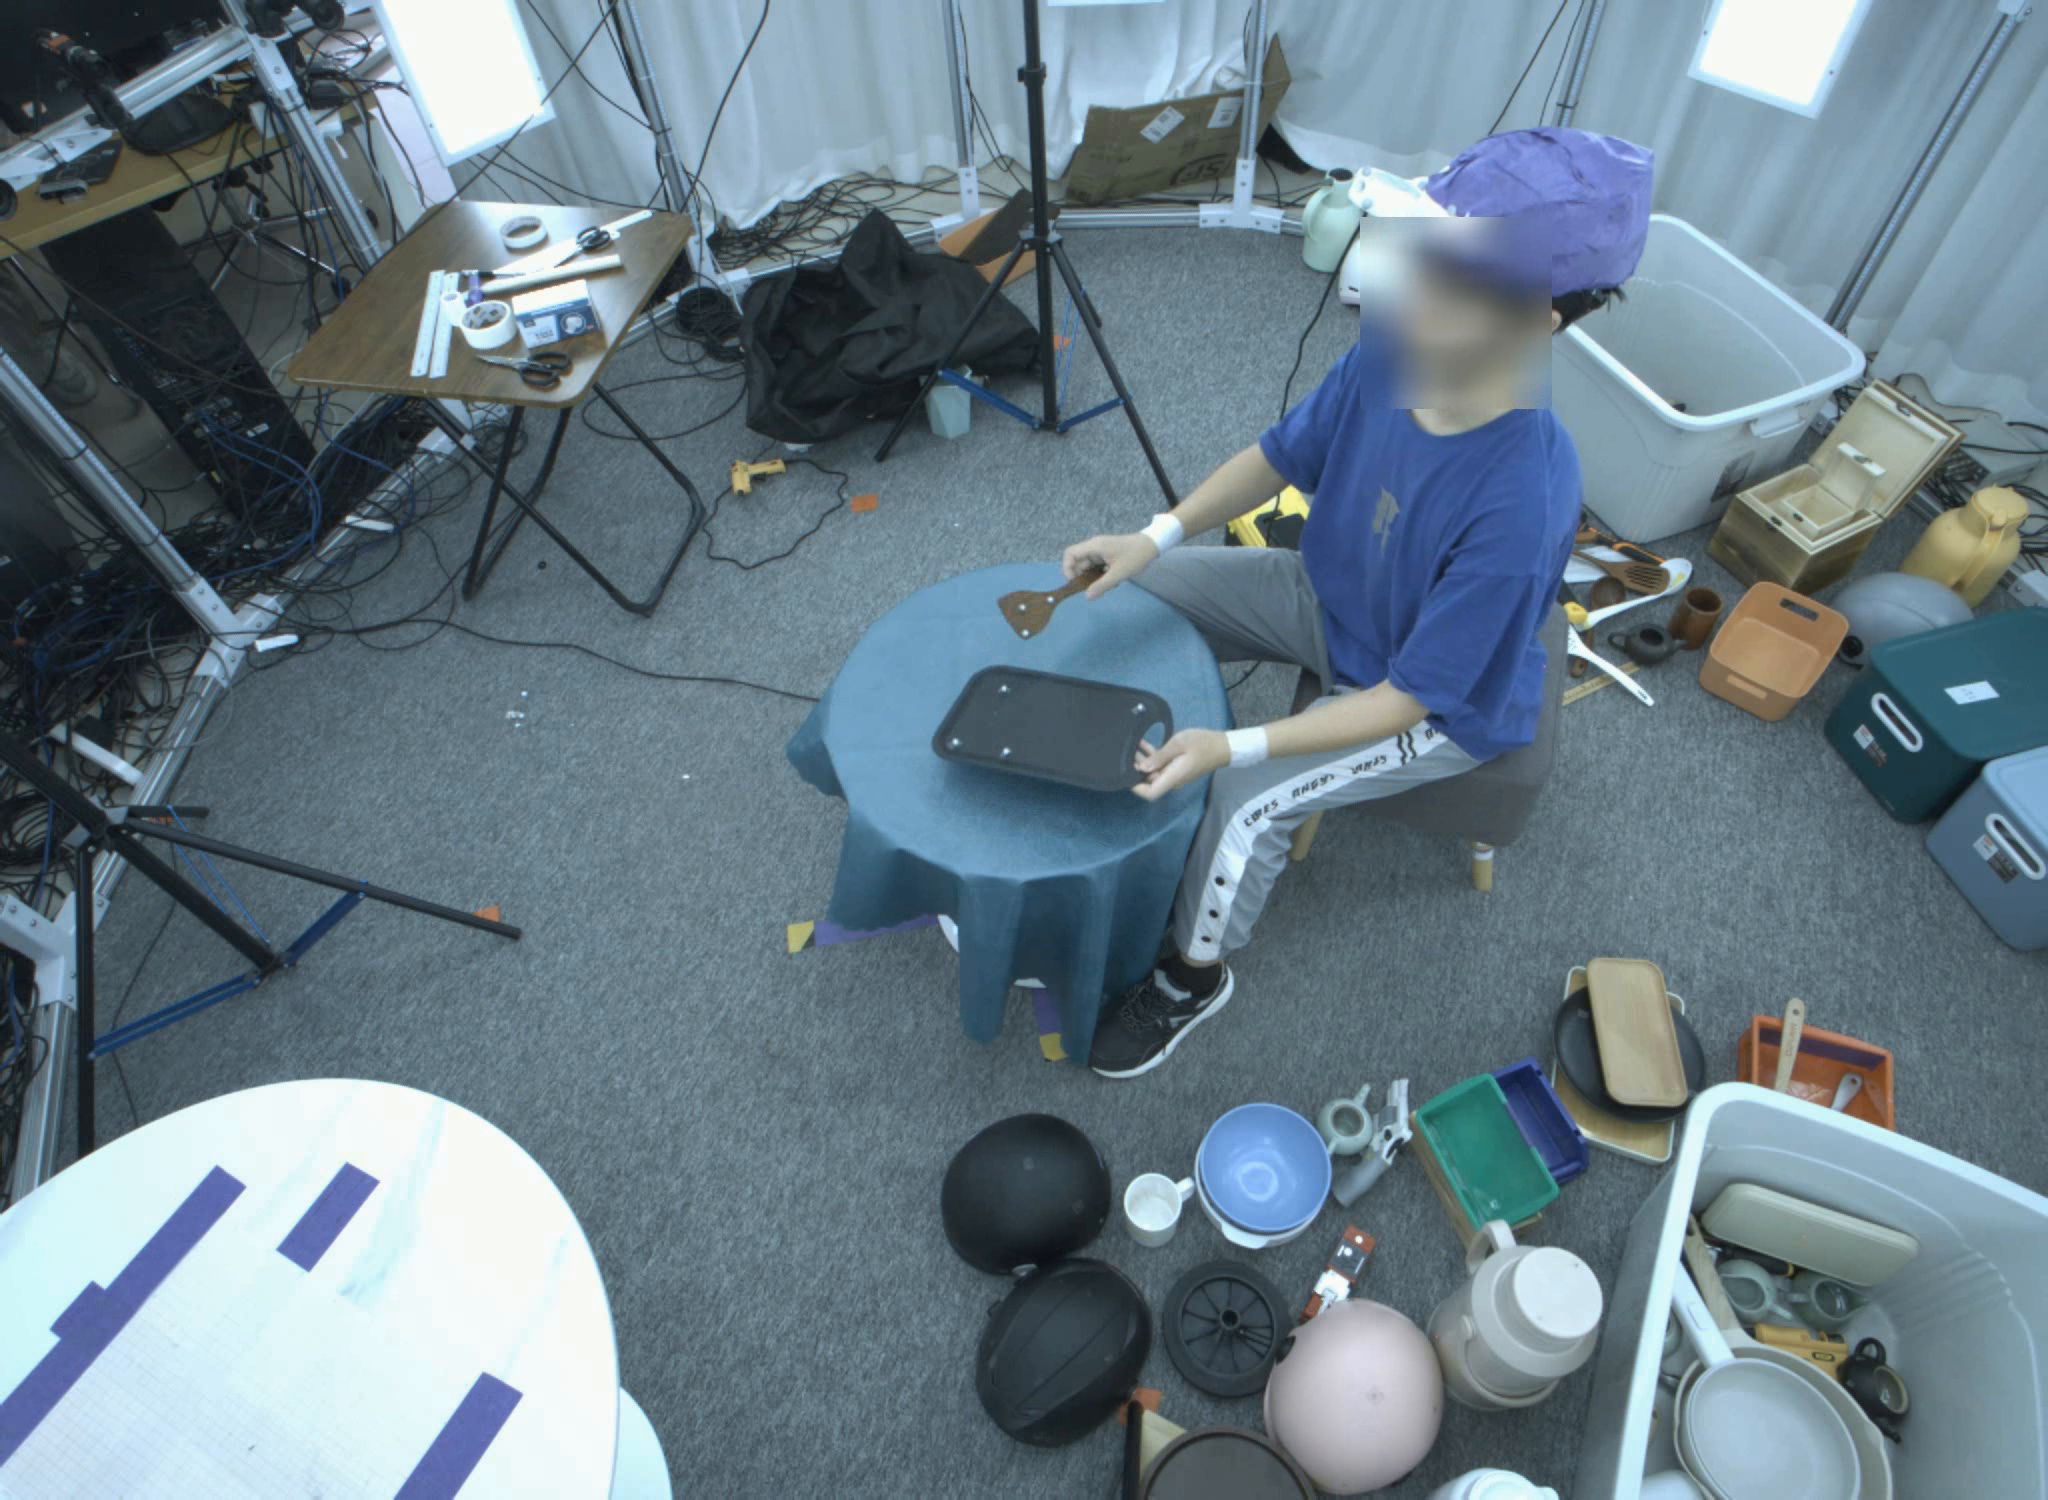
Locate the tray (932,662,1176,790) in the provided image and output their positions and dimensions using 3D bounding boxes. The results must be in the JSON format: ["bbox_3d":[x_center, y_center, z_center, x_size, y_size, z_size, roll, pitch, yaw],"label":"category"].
[{"bbox_3d":[0.047,-0.038,1.709,0.321,0.010,0.211,12,46,18],"label":"tray"}]

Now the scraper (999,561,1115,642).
[{"bbox_3d":[0.054,-0.227,1.794,0.214,0.010,0.076,-32,92,-32],"label":"scraper"}]
